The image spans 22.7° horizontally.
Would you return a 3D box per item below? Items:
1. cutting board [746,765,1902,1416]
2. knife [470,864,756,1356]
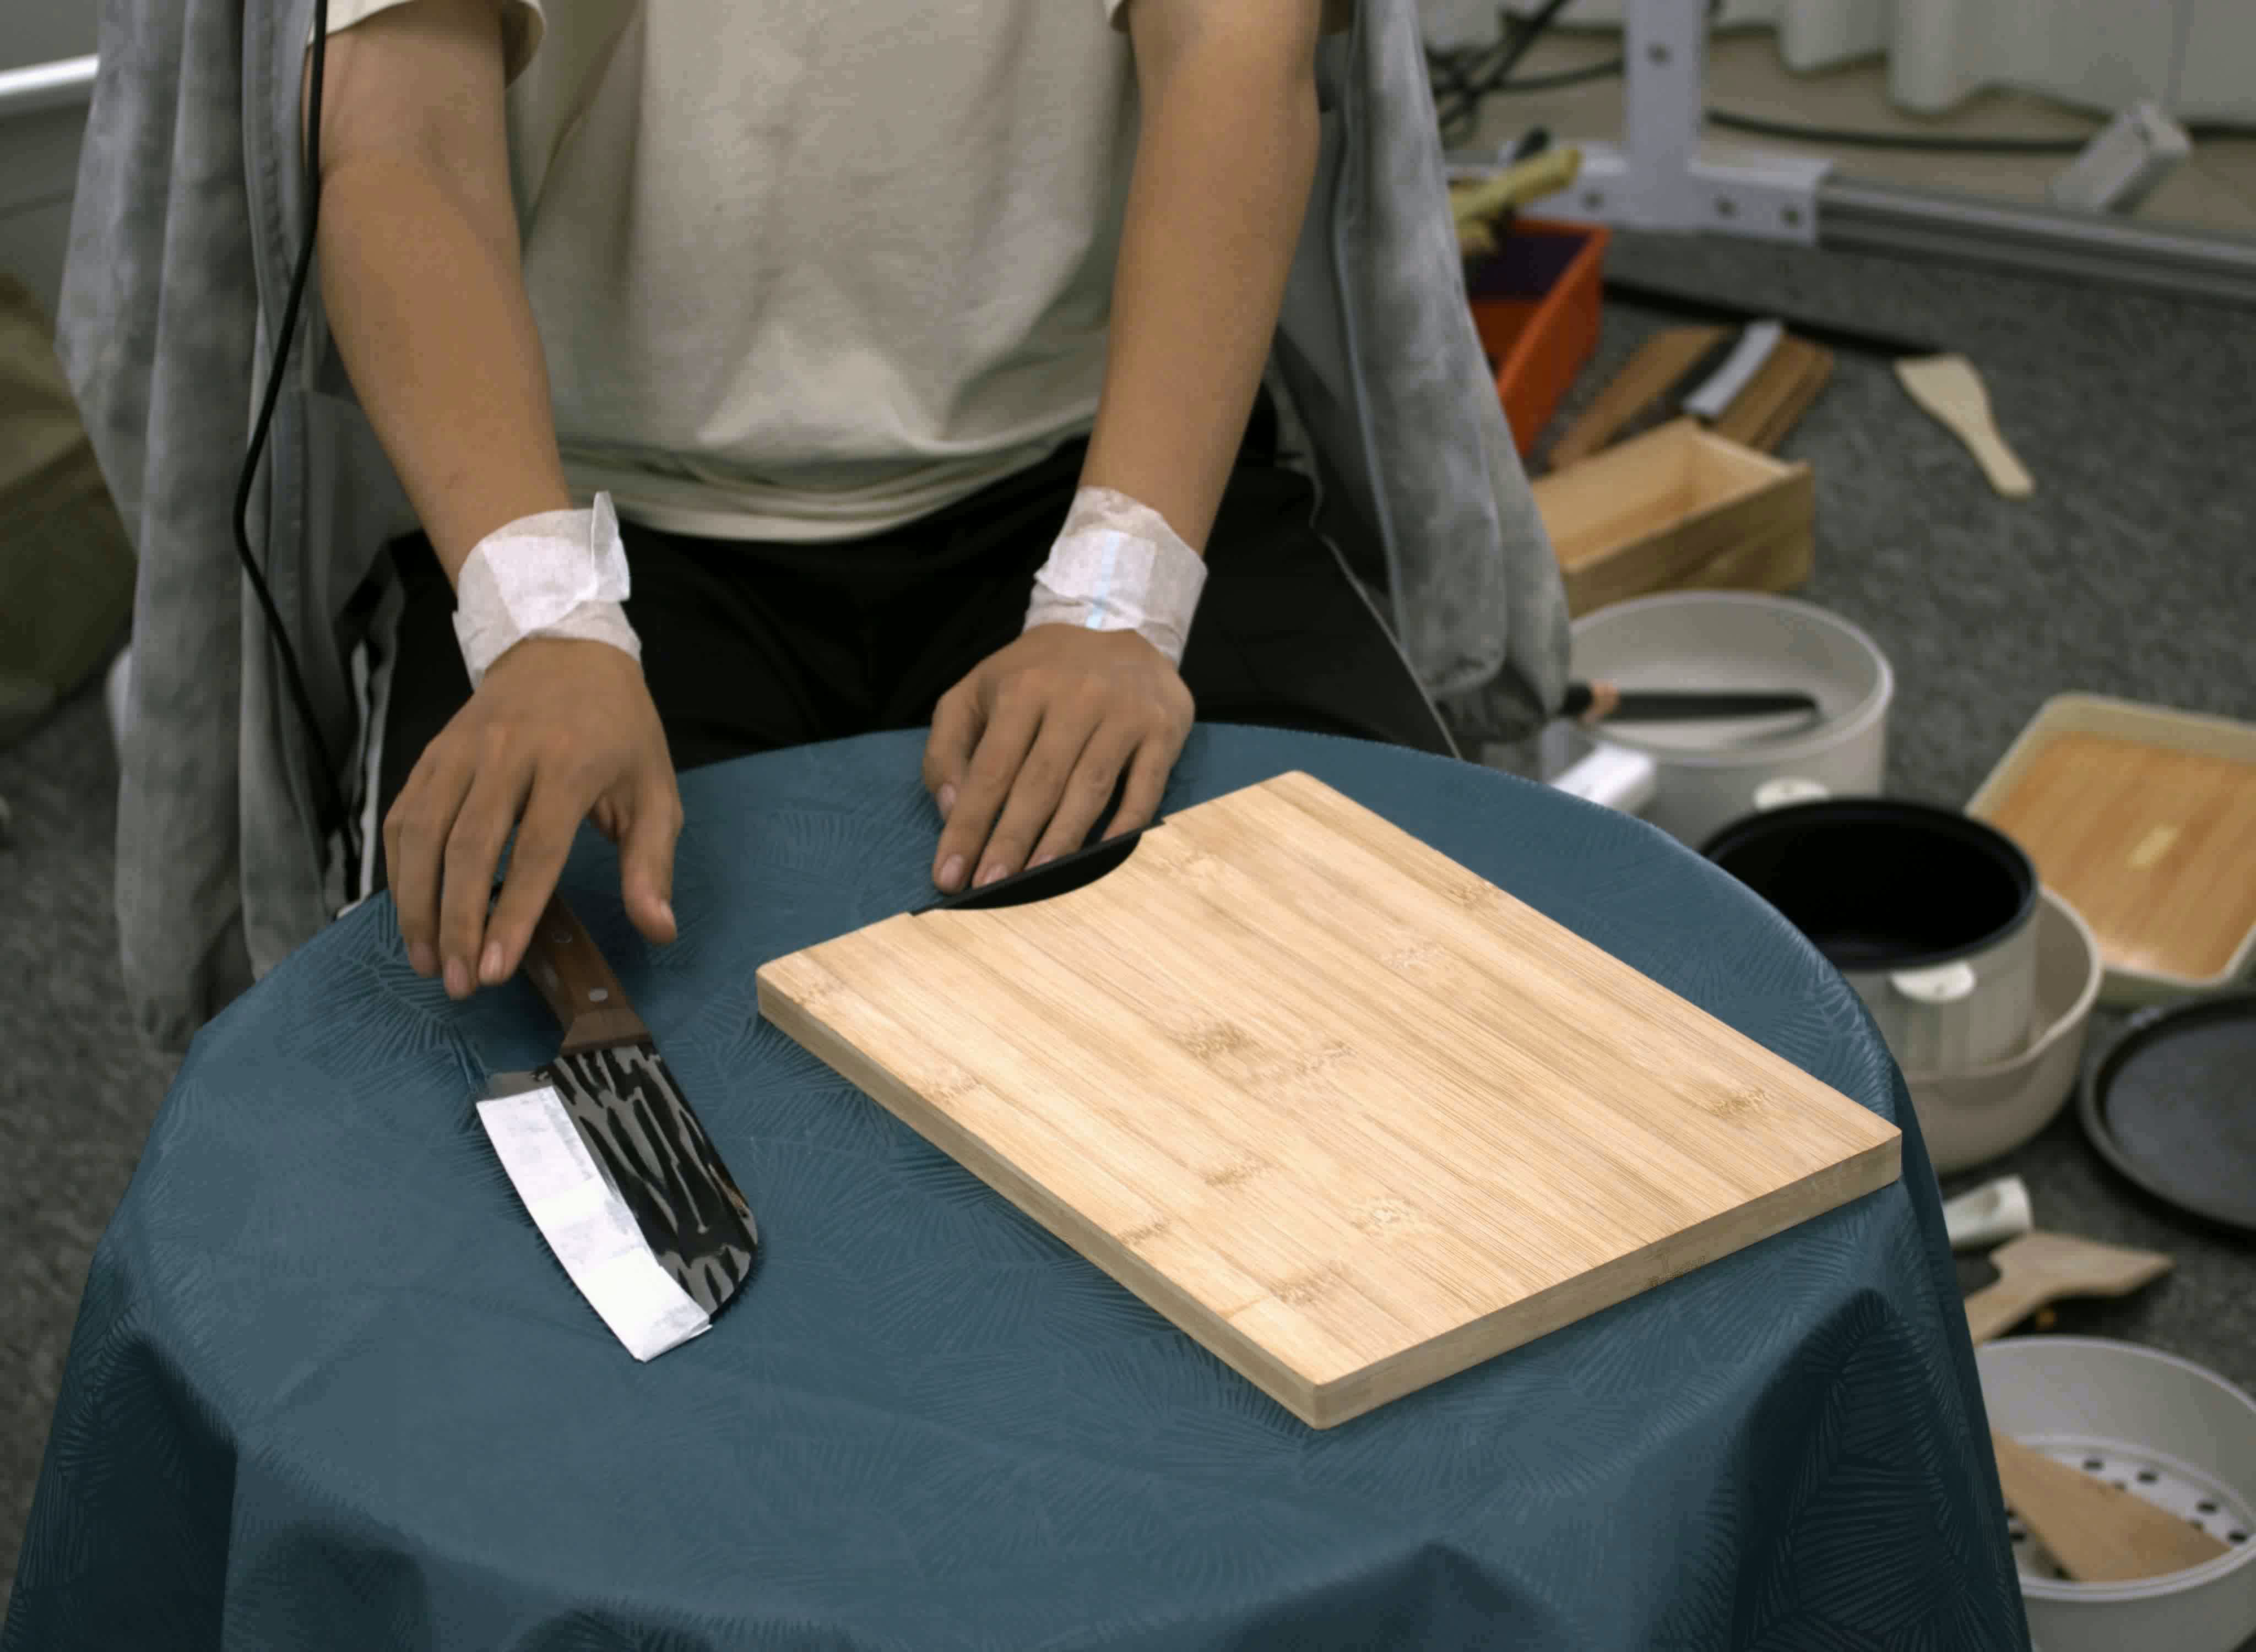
[{"bbox_3d":[0.059,0.082,1.914,0.253,0.023,0.349,-20,31,-30],"label":"cutting board"},{"bbox_3d":[-0.185,0.095,1.910,0.068,0.023,0.302,-13,31,-15],"label":"knife"}]
